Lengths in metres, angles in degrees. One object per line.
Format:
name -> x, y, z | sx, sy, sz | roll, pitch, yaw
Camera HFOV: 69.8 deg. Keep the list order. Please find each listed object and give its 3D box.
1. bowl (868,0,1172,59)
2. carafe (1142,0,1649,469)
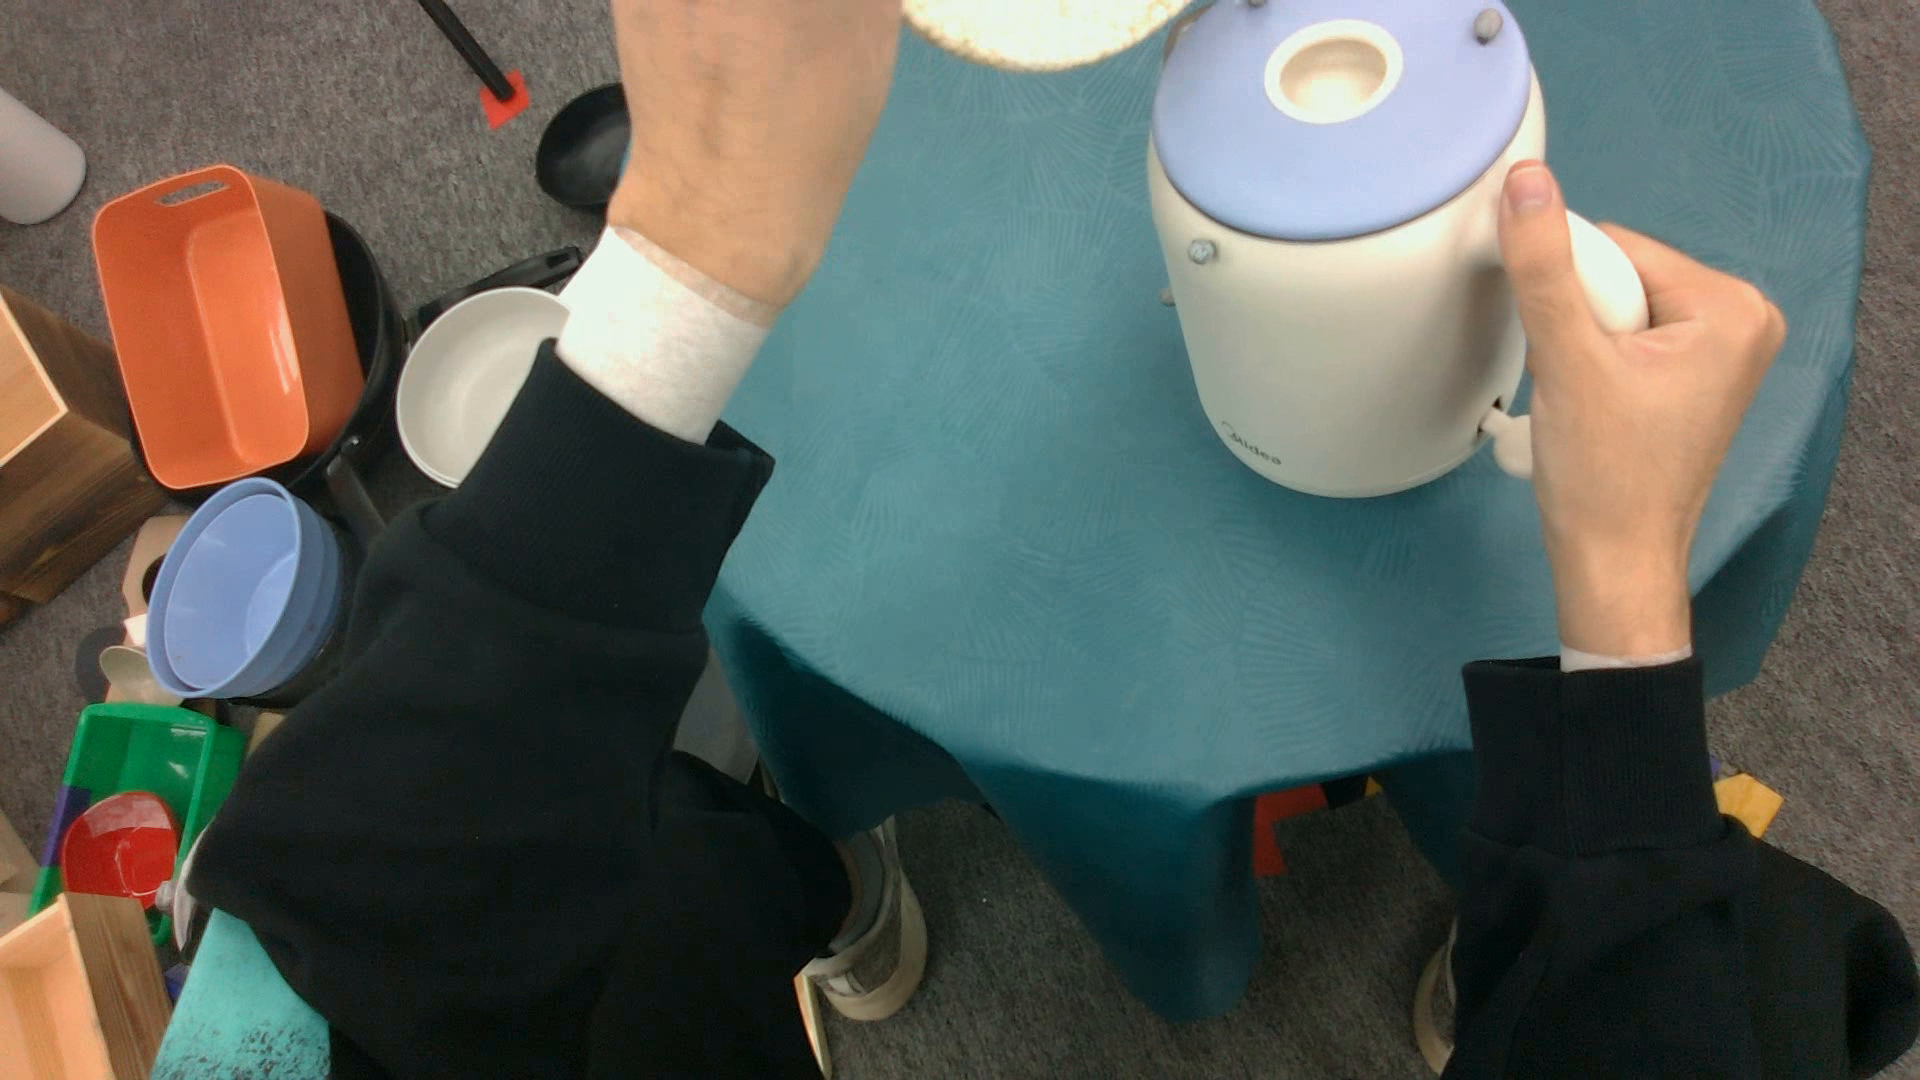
bowl -> 0.004, -0.251, 0.401 | 0.204, 0.203, 0.078 | -48, 41, -7
carafe -> 0.161, -0.106, 0.513 | 0.191, 0.182, 0.132 | 34, 81, 25
